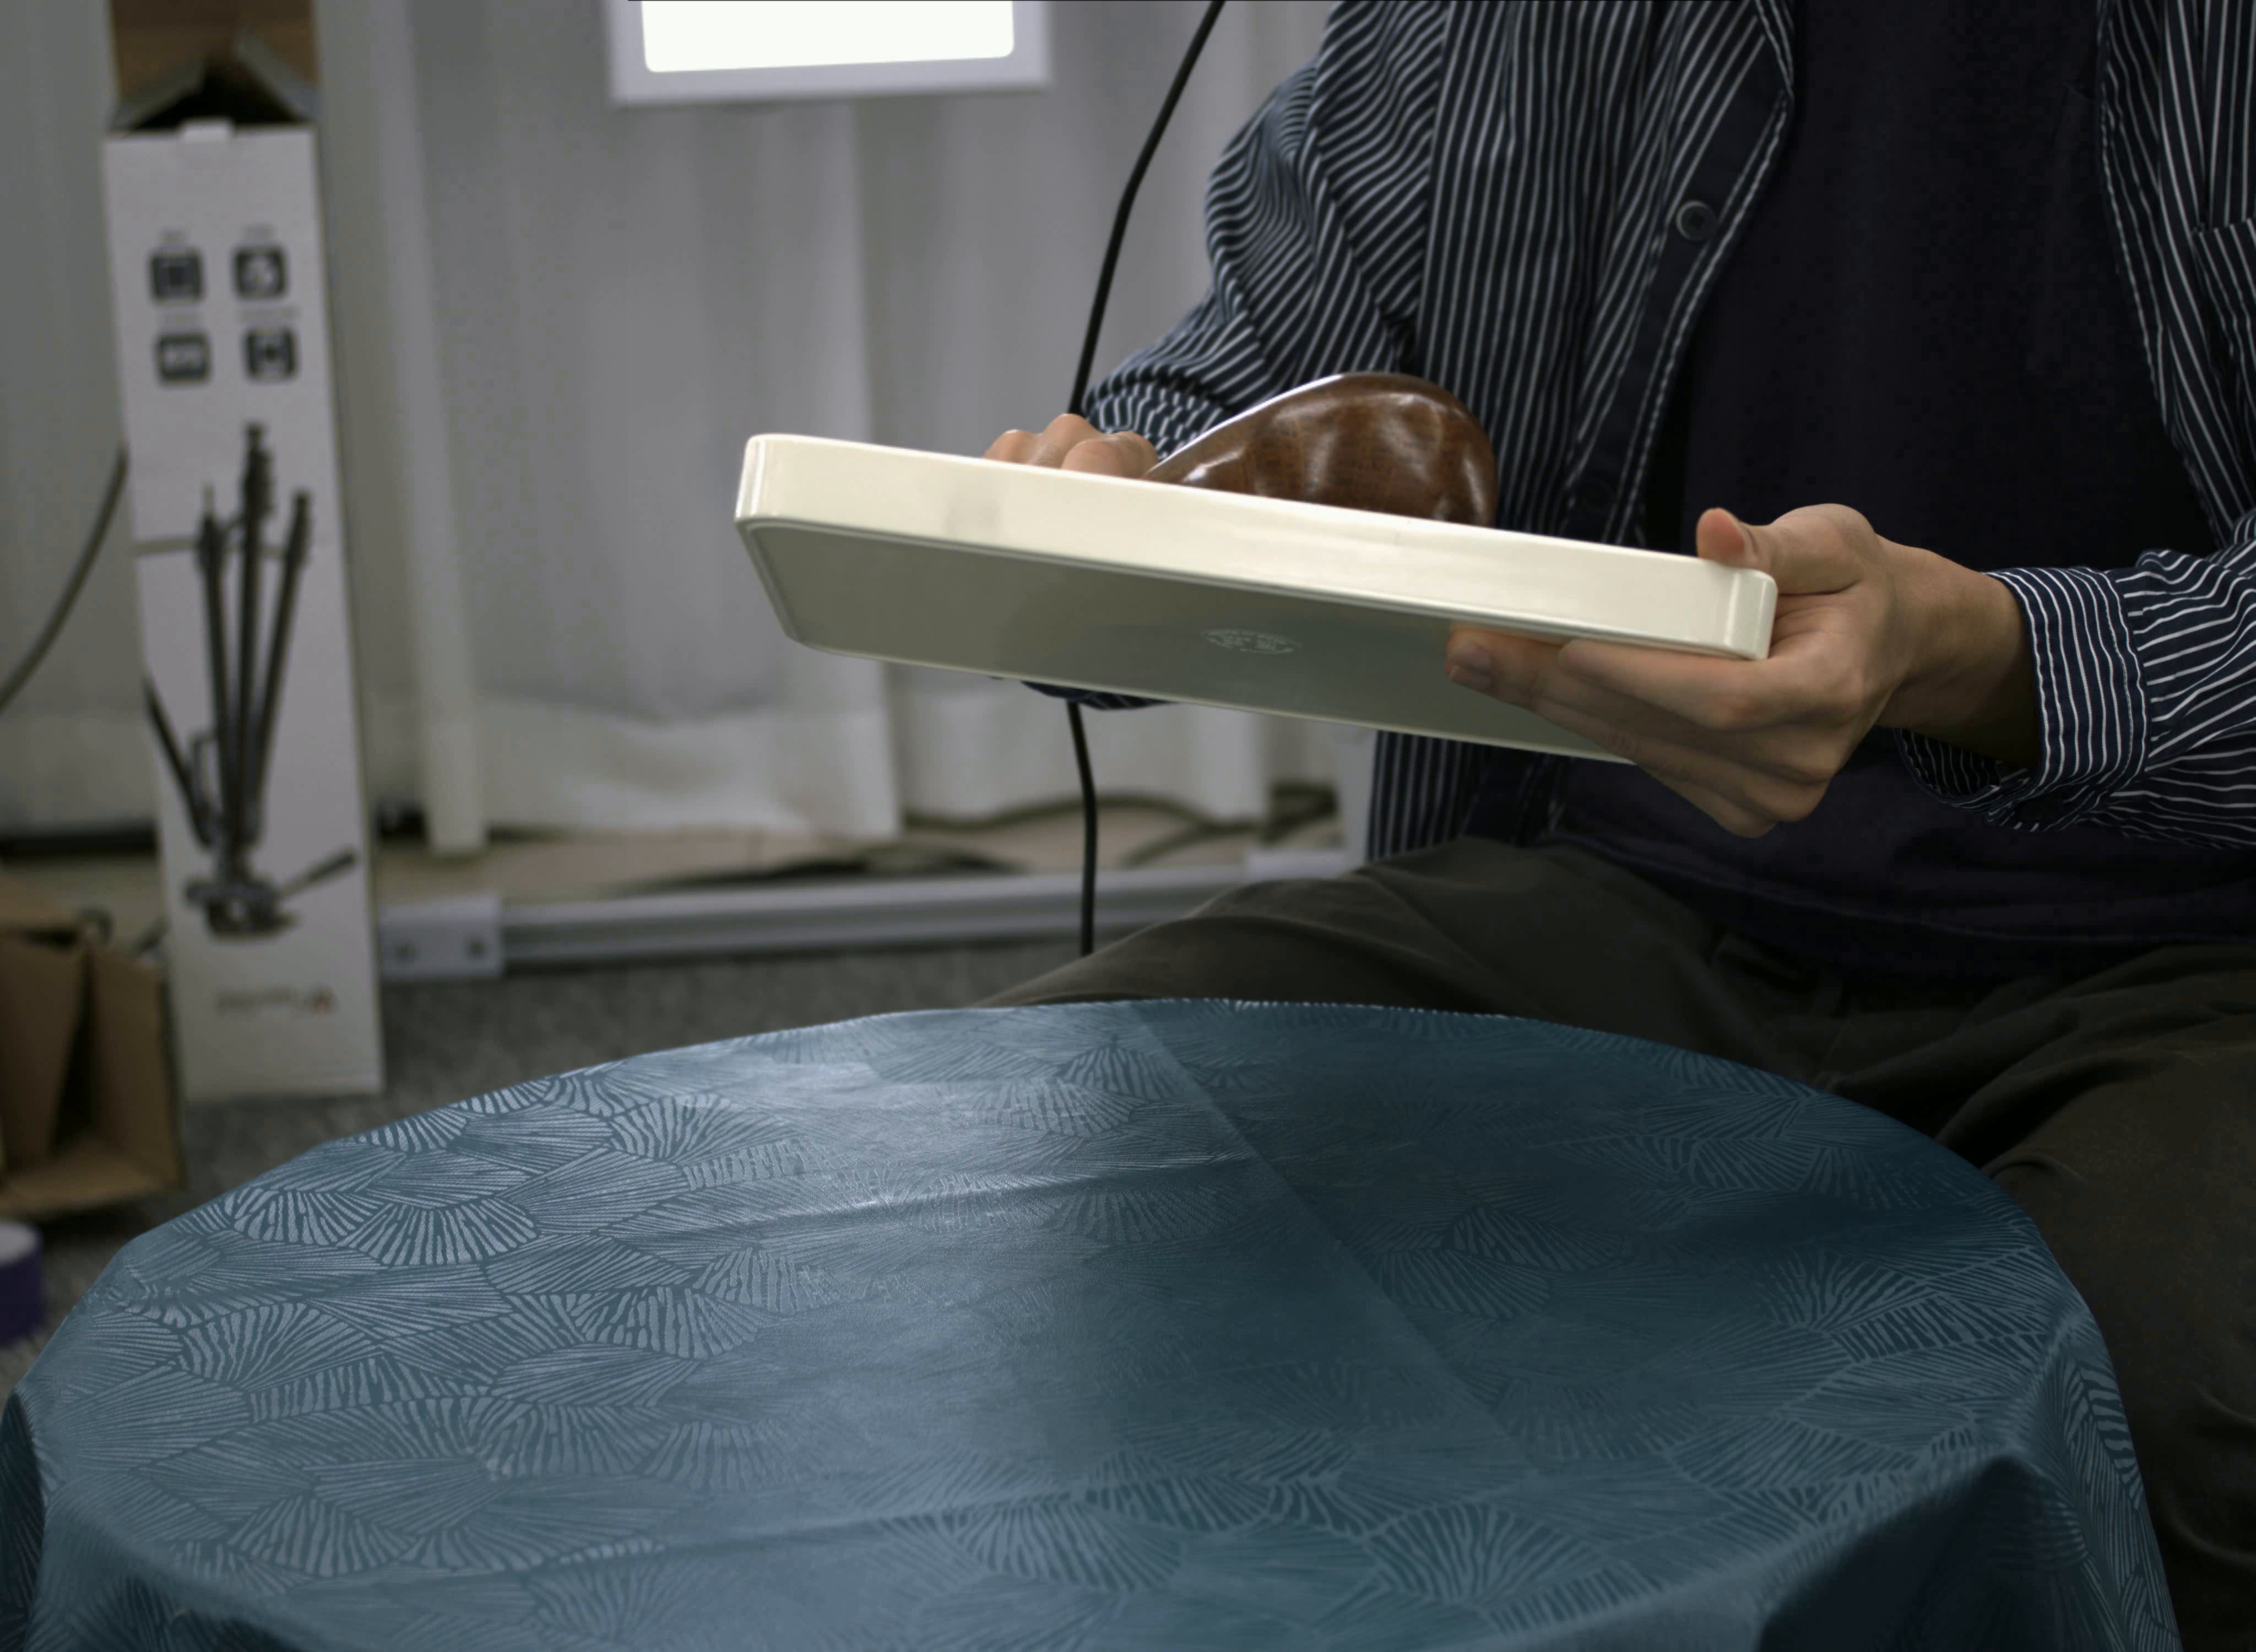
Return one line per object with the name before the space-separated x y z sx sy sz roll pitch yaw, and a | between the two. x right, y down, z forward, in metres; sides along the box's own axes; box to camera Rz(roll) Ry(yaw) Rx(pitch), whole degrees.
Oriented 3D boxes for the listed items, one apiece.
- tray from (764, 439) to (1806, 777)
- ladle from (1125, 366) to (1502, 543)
tray | 0.047 -0.062 1.641 0.299 0.027 0.190 8 -10 5
ladle | 0.026 -0.084 1.706 0.082 0.076 0.273 -55 14 -23
